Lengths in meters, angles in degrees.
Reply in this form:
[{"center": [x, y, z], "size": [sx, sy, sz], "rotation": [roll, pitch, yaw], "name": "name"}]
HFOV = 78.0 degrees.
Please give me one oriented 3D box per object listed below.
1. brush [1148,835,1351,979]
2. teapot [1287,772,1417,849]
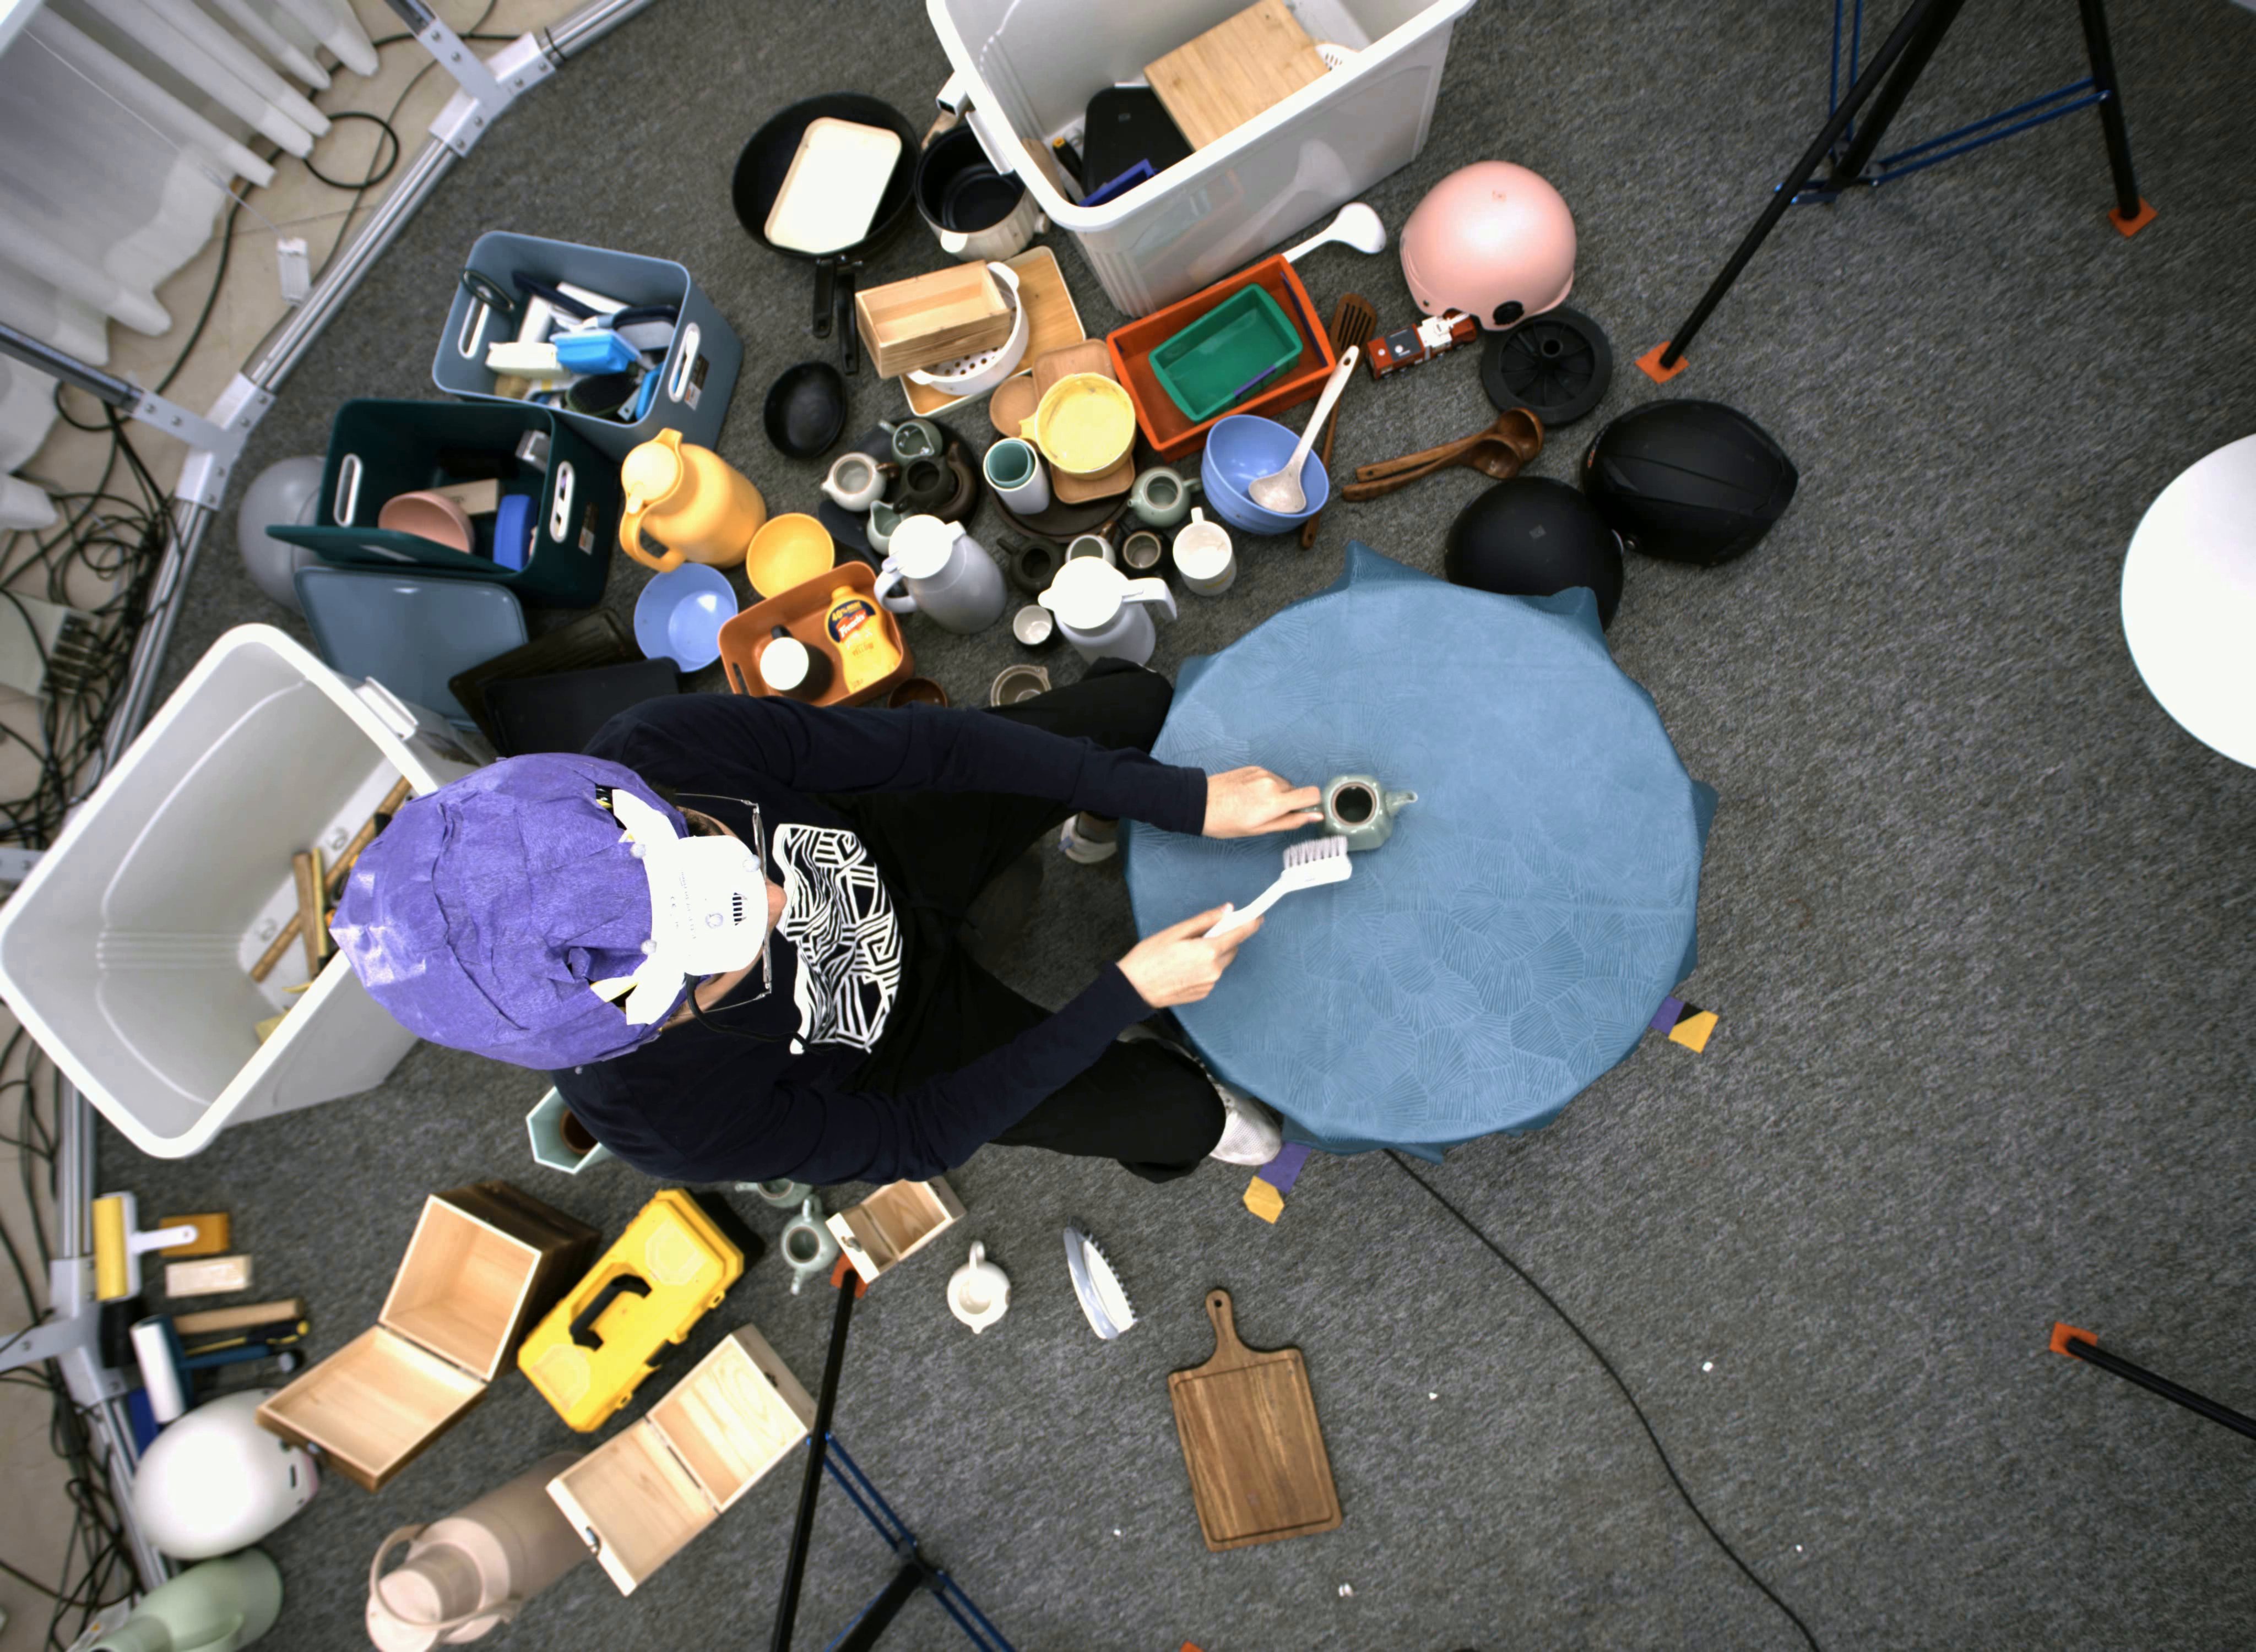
[{"center": [0.119, 0.078, 1.413], "size": [0.244, 0.035, 0.049], "rotation": [-30, 68, 5], "name": "brush"}, {"center": [0.233, -0.020, 1.431], "size": [0.133, 0.075, 0.079], "rotation": [-7, 80, 10], "name": "teapot"}]
